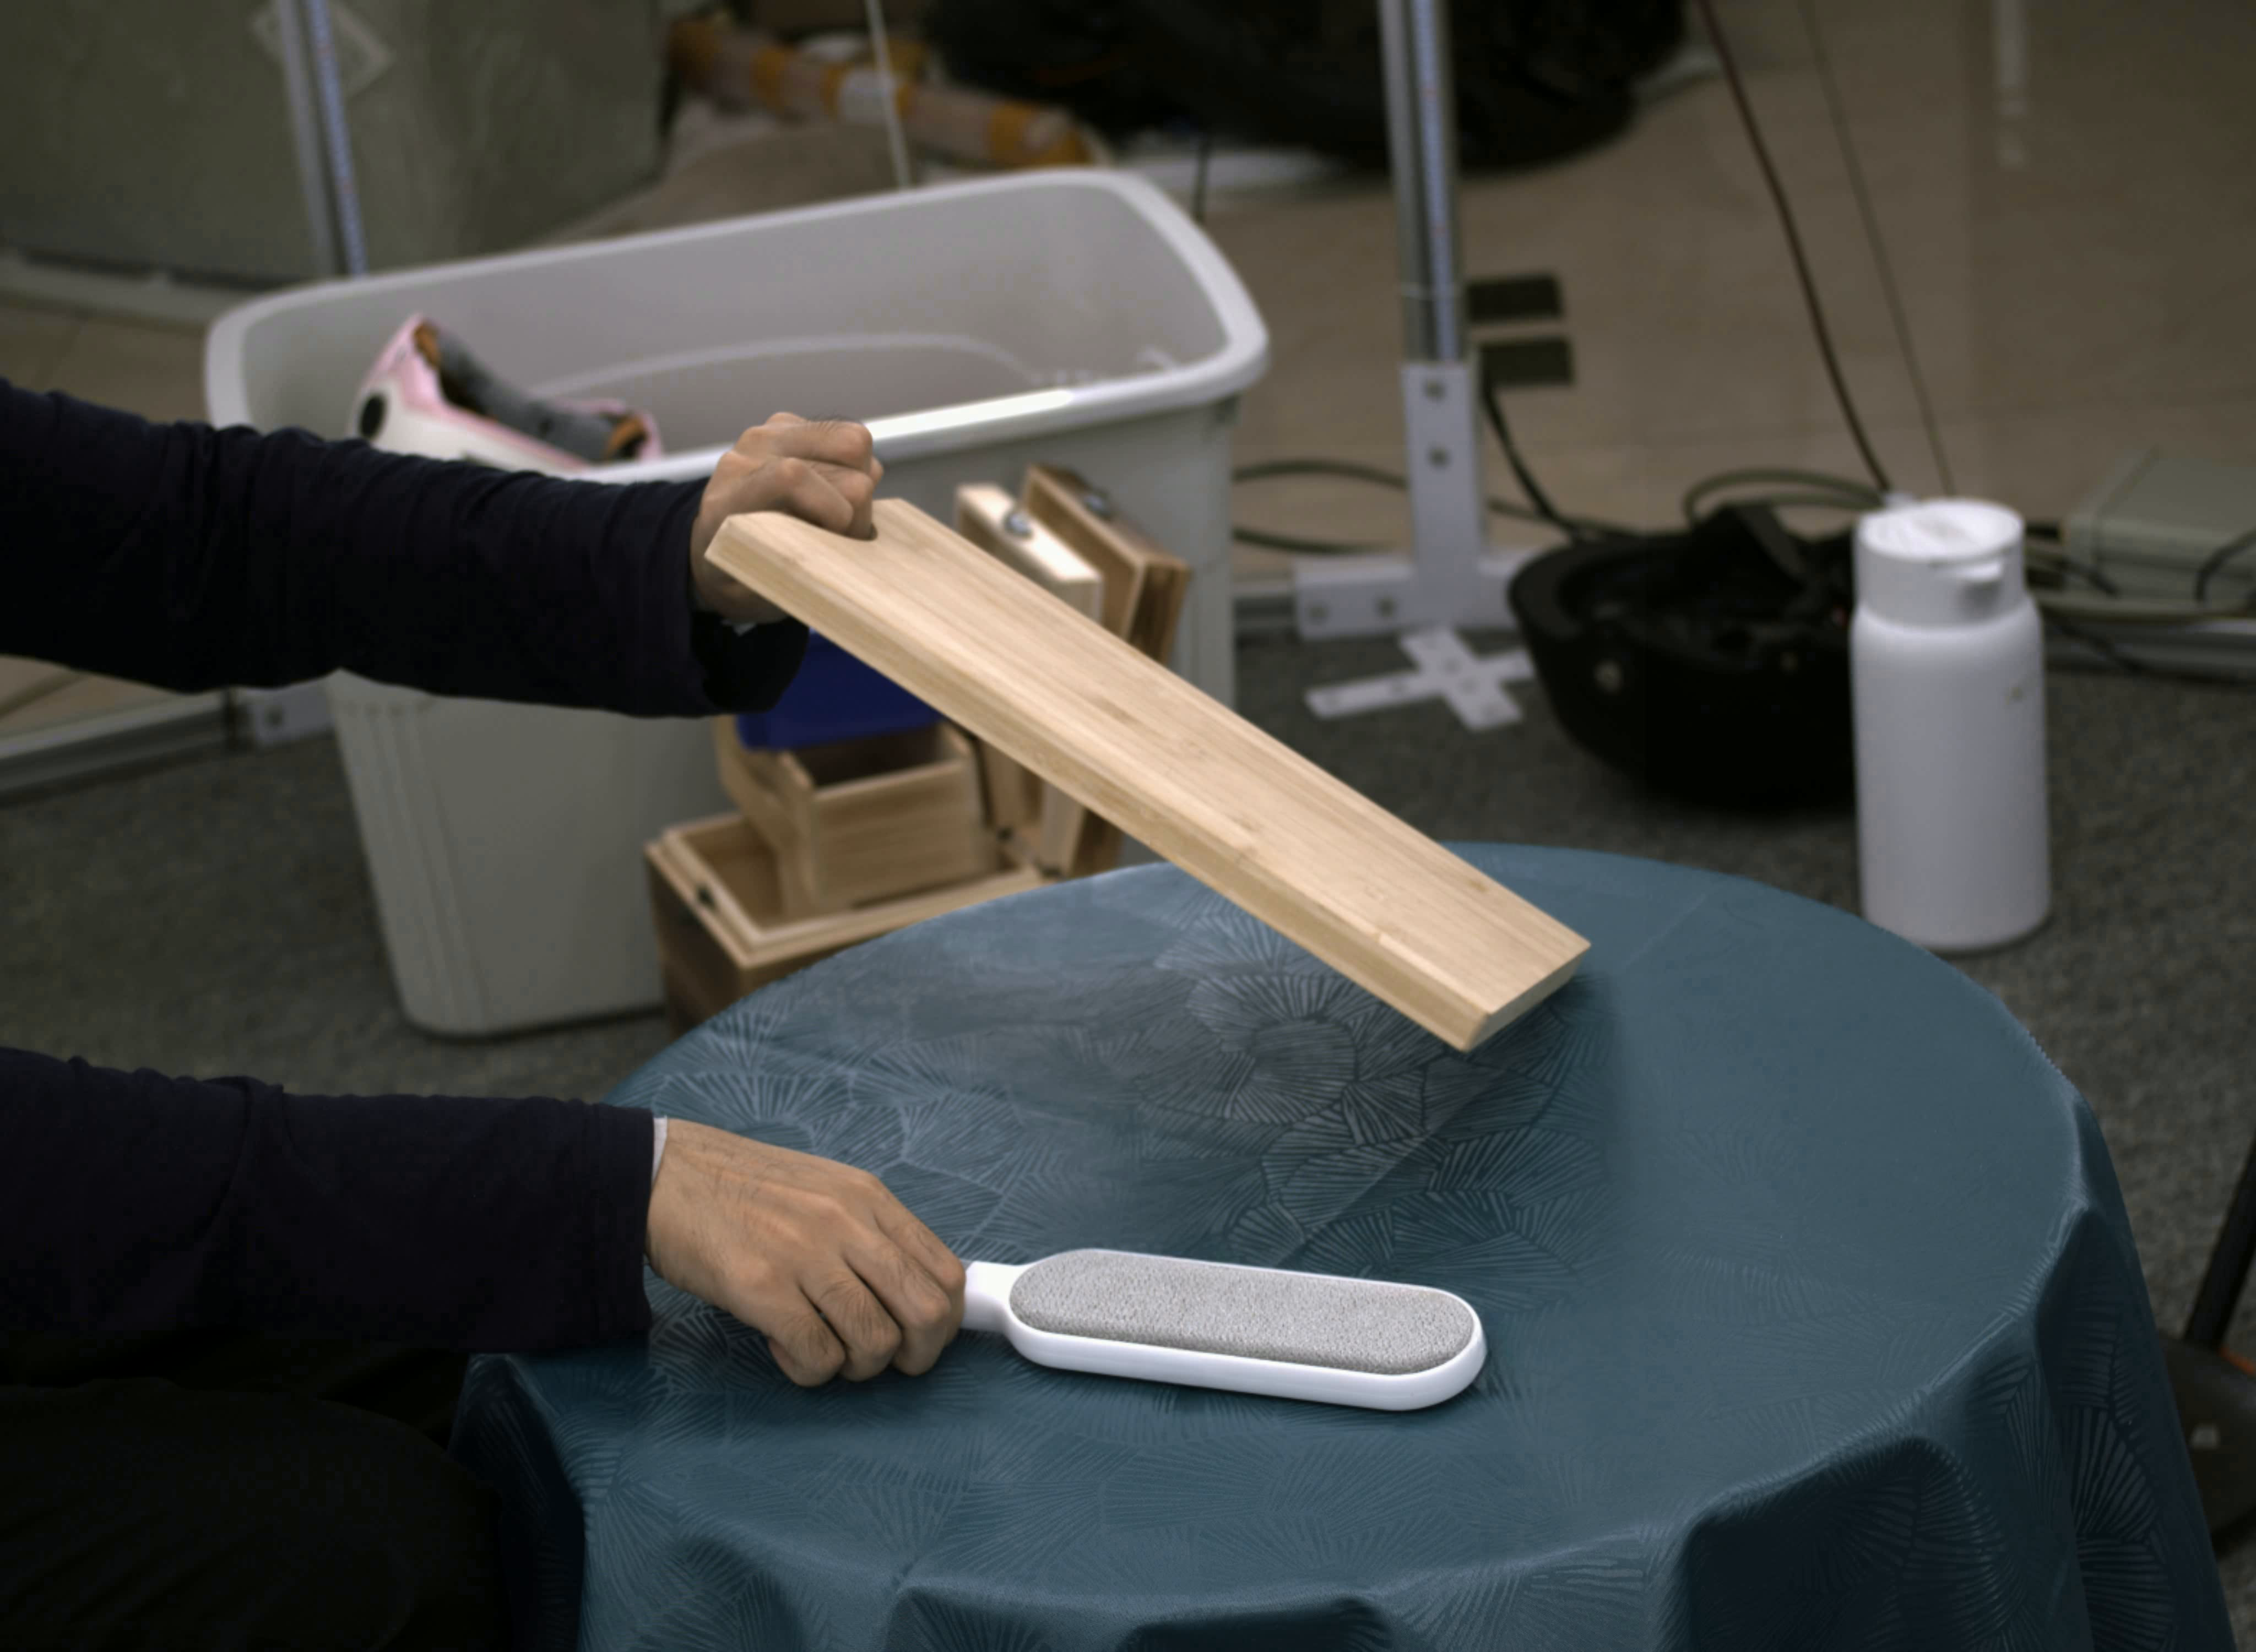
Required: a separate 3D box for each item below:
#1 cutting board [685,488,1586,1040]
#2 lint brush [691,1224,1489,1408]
[{"bbox_3d":[0.009,-0.028,2.184,0.347,0.024,0.250,33,11,7],"label":"cutting board"},{"bbox_3d":[-0.018,0.171,2.047,0.308,0.021,0.059,5,38,22],"label":"lint brush"}]
